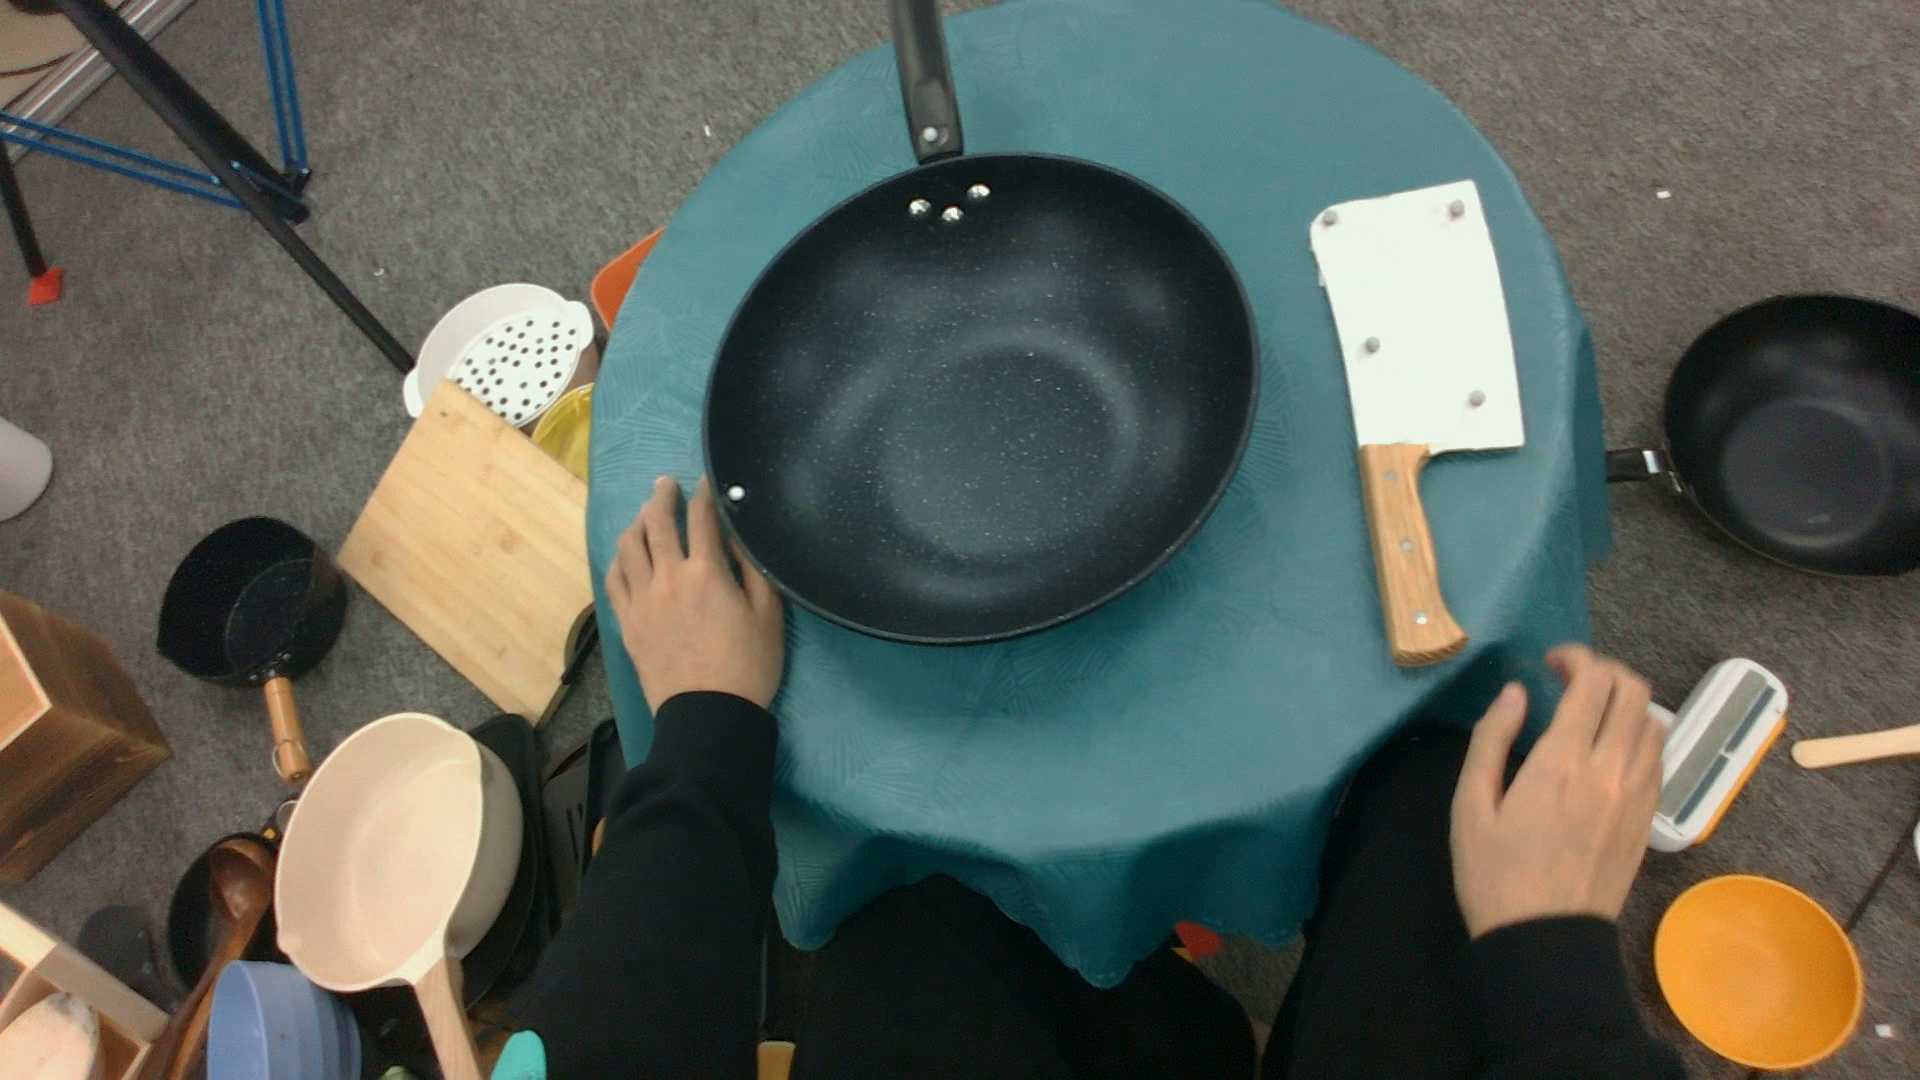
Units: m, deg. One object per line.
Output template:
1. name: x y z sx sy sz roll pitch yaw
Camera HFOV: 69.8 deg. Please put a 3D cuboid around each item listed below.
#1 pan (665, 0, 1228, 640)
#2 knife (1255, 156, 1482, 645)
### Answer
1. pan: -0.021 -0.156 0.808 0.310 0.111 0.478 -12 65 4
2. knife: 0.232 -0.090 0.777 0.114 0.021 0.316 -3 63 10
